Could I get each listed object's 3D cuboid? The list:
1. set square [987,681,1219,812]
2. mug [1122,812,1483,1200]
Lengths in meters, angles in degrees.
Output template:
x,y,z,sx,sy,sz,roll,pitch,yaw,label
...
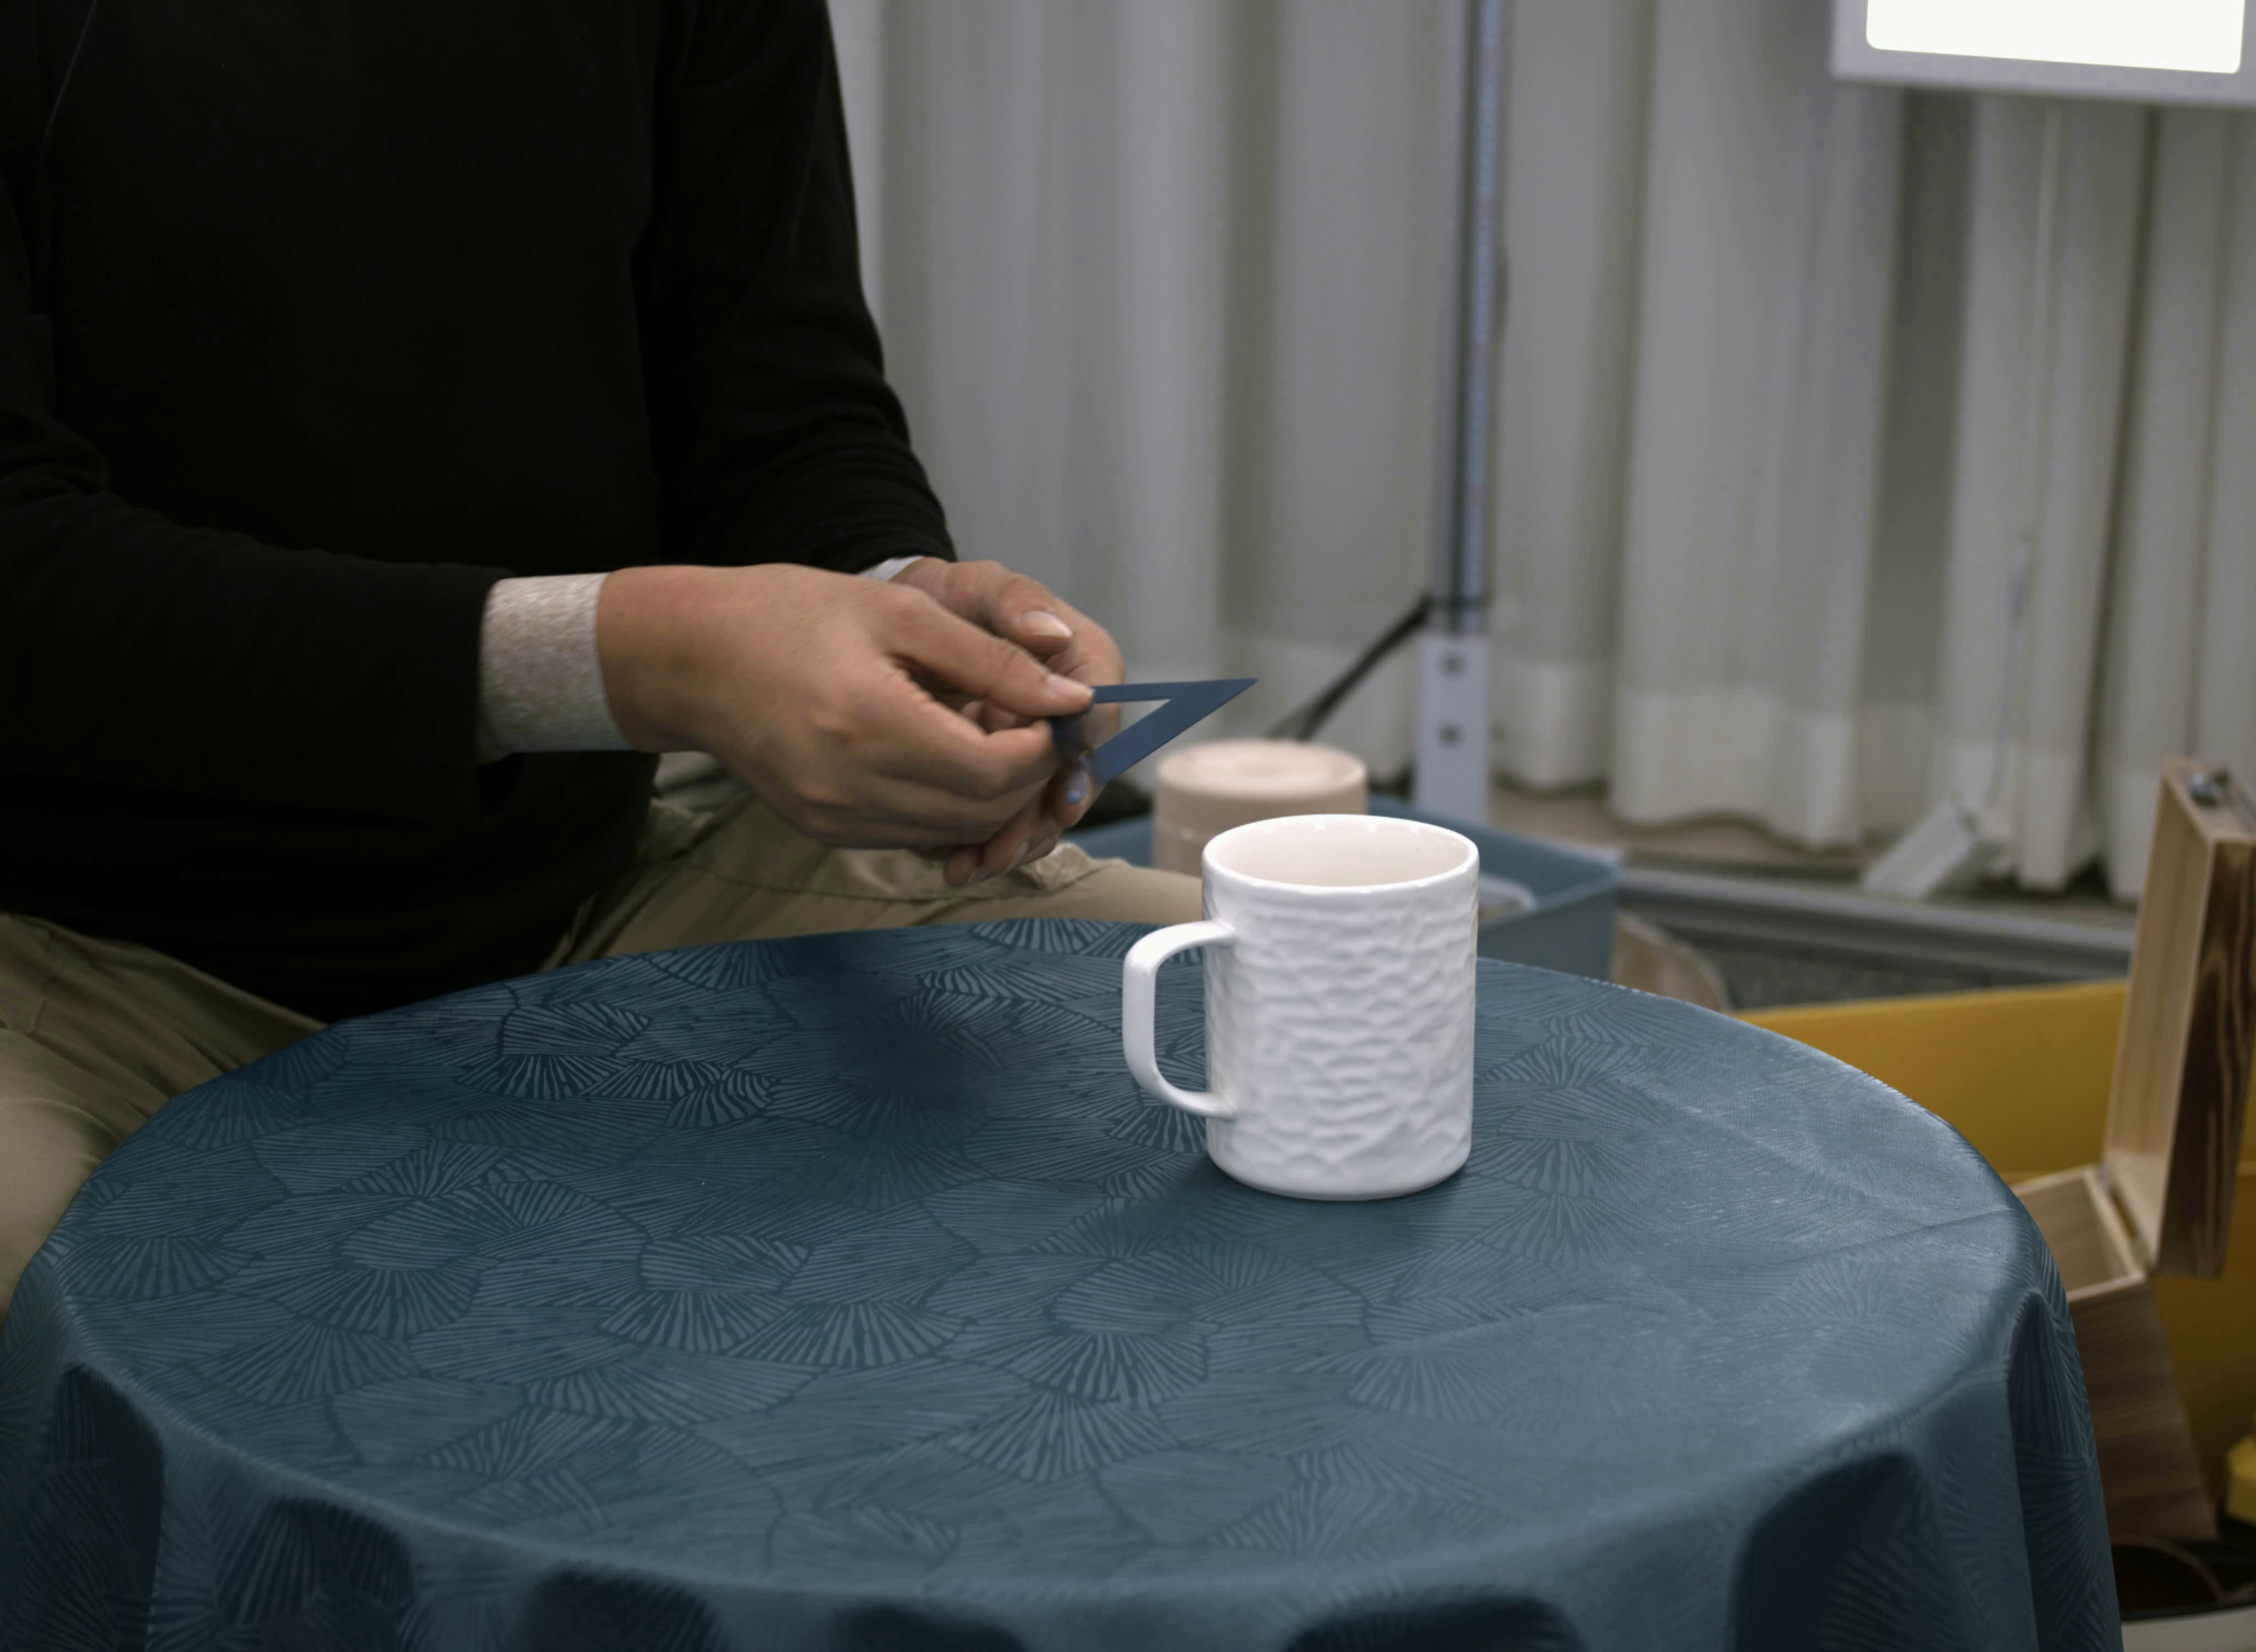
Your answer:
x,y,z,sx,sy,sz,roll,pitch,yaw,label
-0.026,-0.029,1.644,0.060,0.006,0.132,10,22,27,set square
0.052,0.058,1.627,0.119,0.103,0.084,-8,18,-29,mug
